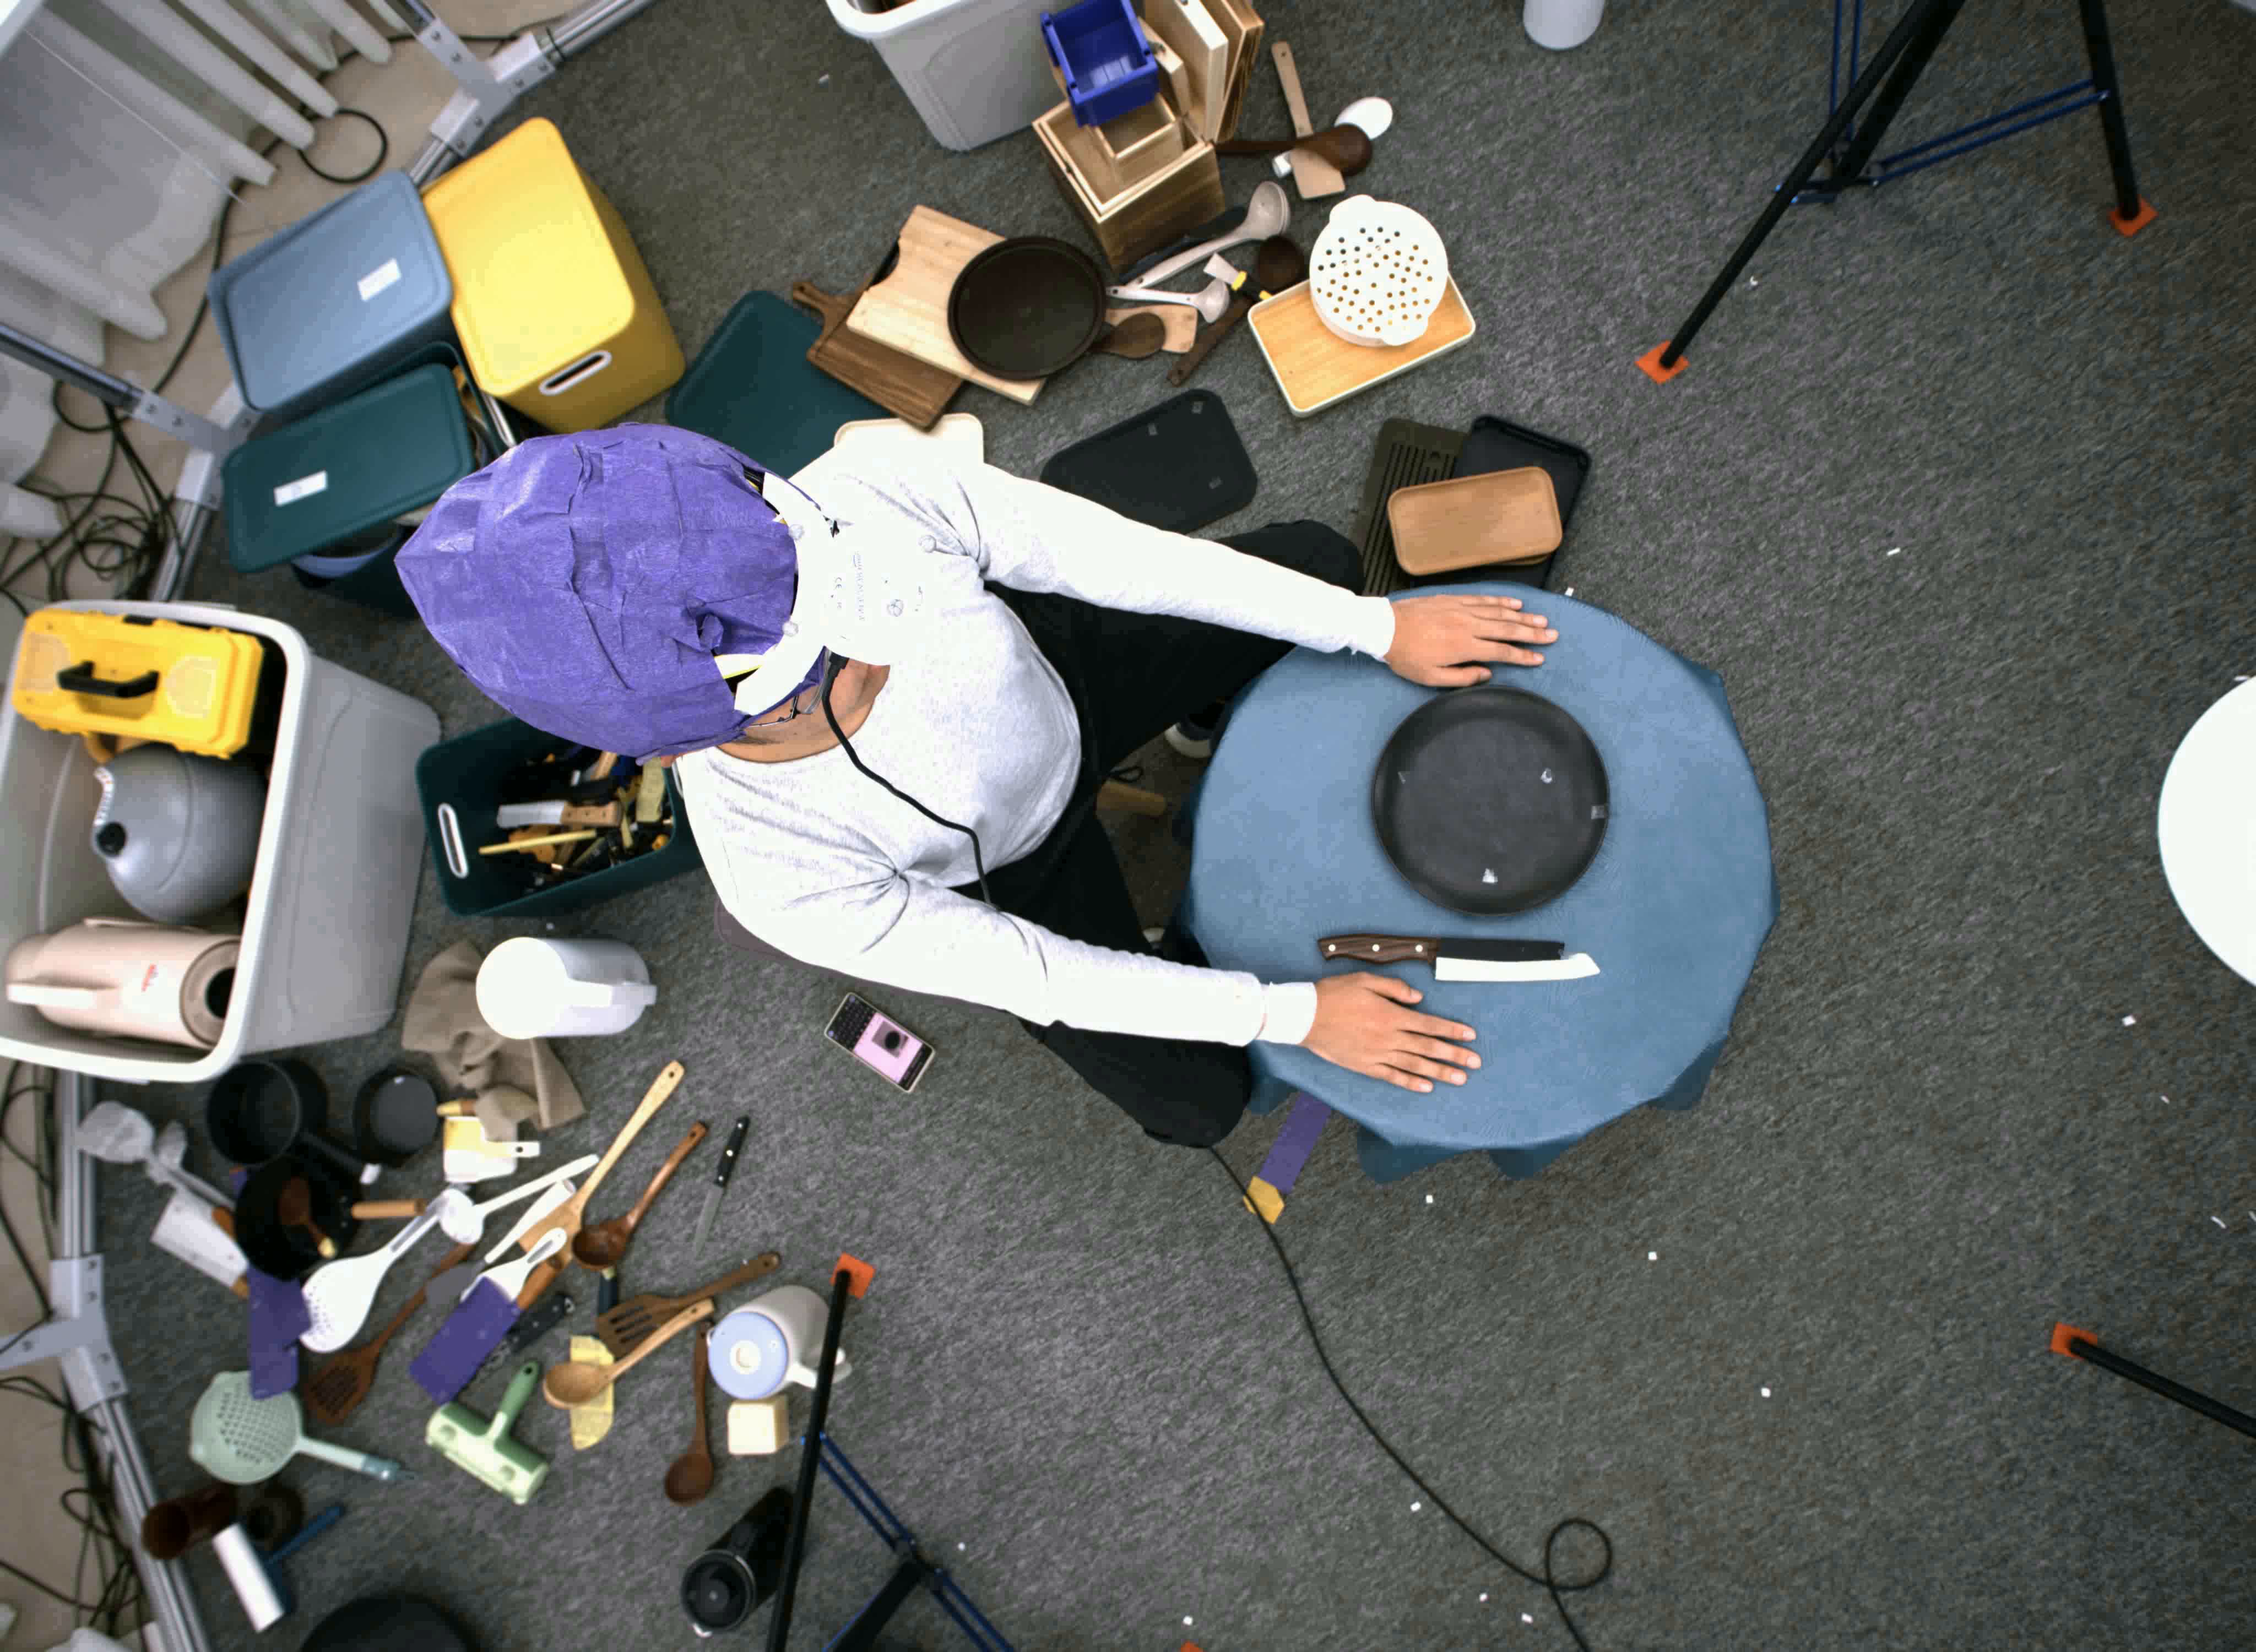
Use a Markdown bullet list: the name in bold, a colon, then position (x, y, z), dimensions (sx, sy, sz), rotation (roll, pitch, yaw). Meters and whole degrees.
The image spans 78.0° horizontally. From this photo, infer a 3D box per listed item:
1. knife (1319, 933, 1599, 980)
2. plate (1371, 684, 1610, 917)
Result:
- **knife**: position (0.343, 0.134, 1.435), dimensions (0.290, 0.020, 0.050), rotation (3, 92, 9)
- **plate**: position (0.376, -0.029, 1.434), dimensions (0.245, 0.023, 0.243), rotation (-1, 87, 11)
